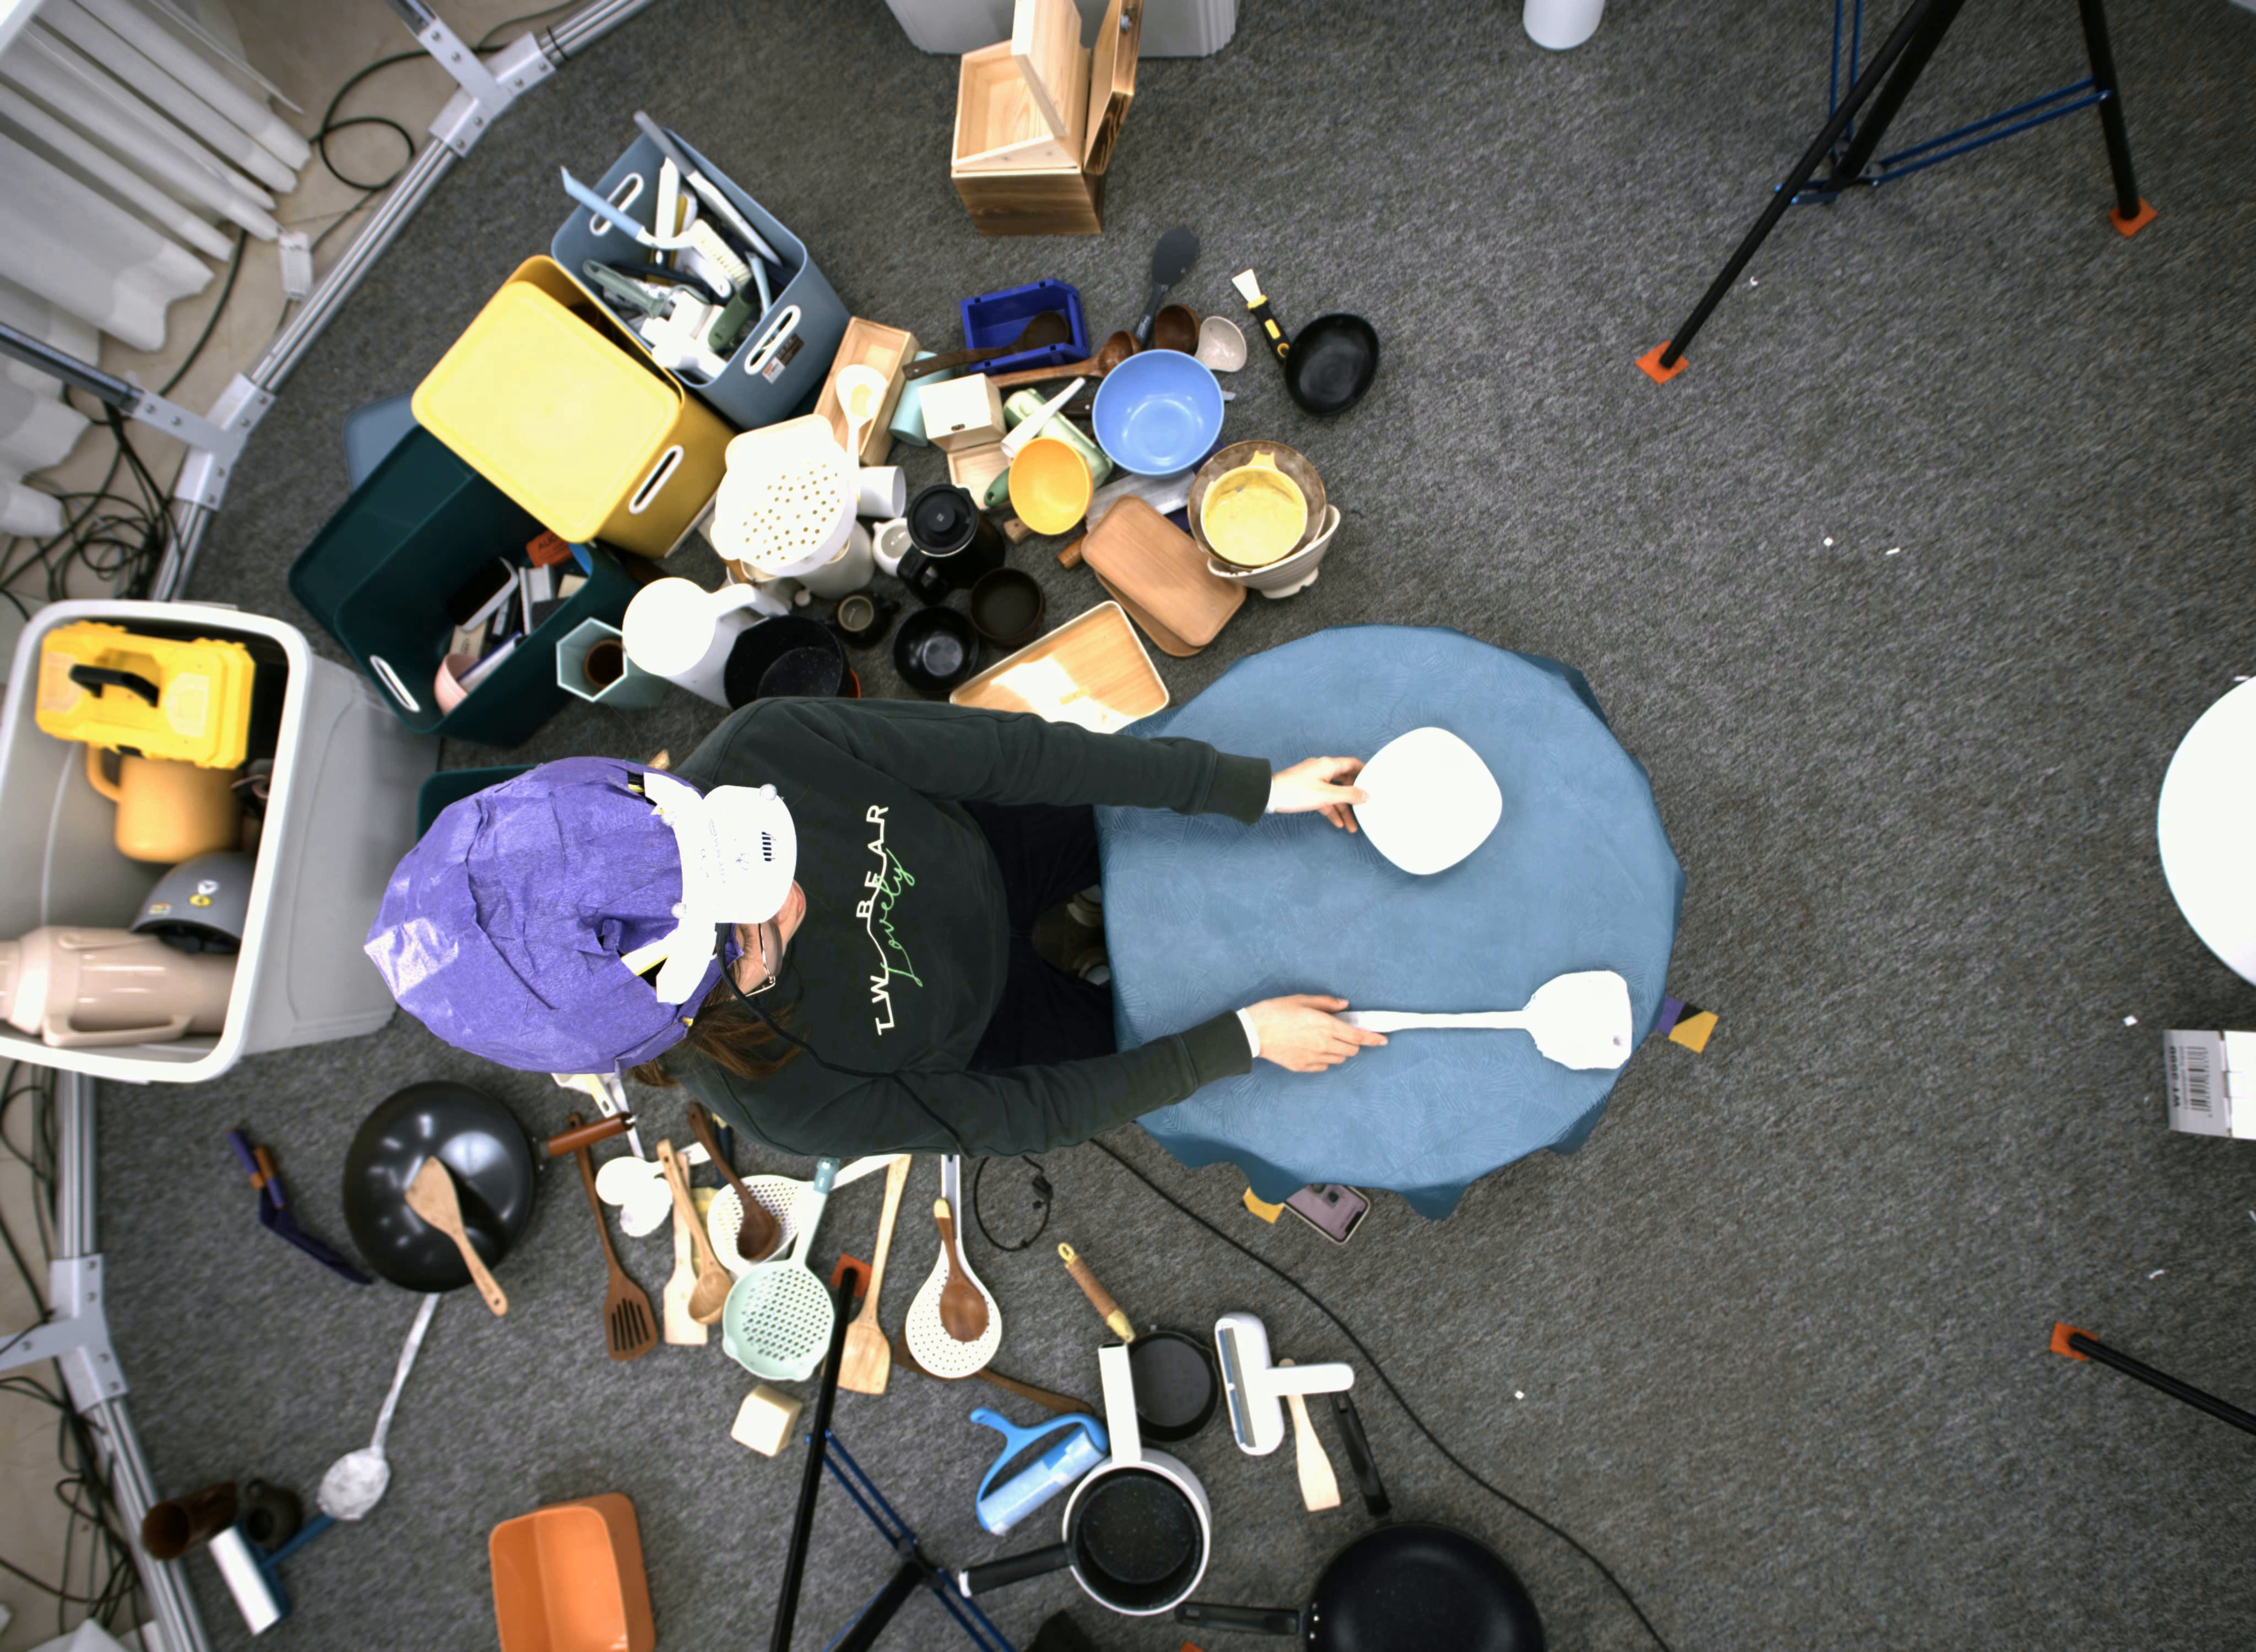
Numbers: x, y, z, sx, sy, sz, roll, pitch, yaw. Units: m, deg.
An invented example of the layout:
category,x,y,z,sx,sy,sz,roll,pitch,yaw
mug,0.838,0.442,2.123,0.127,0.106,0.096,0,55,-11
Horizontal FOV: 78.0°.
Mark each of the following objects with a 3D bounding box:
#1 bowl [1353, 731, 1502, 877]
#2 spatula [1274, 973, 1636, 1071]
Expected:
category,x,y,z,sx,sy,sz,roll,pitch,yaw
bowl,0.310,-0.021,1.436,0.152,0.059,0.150,-1,85,8
spatula,0.332,0.197,1.425,0.366,0.045,0.098,-1,87,10
